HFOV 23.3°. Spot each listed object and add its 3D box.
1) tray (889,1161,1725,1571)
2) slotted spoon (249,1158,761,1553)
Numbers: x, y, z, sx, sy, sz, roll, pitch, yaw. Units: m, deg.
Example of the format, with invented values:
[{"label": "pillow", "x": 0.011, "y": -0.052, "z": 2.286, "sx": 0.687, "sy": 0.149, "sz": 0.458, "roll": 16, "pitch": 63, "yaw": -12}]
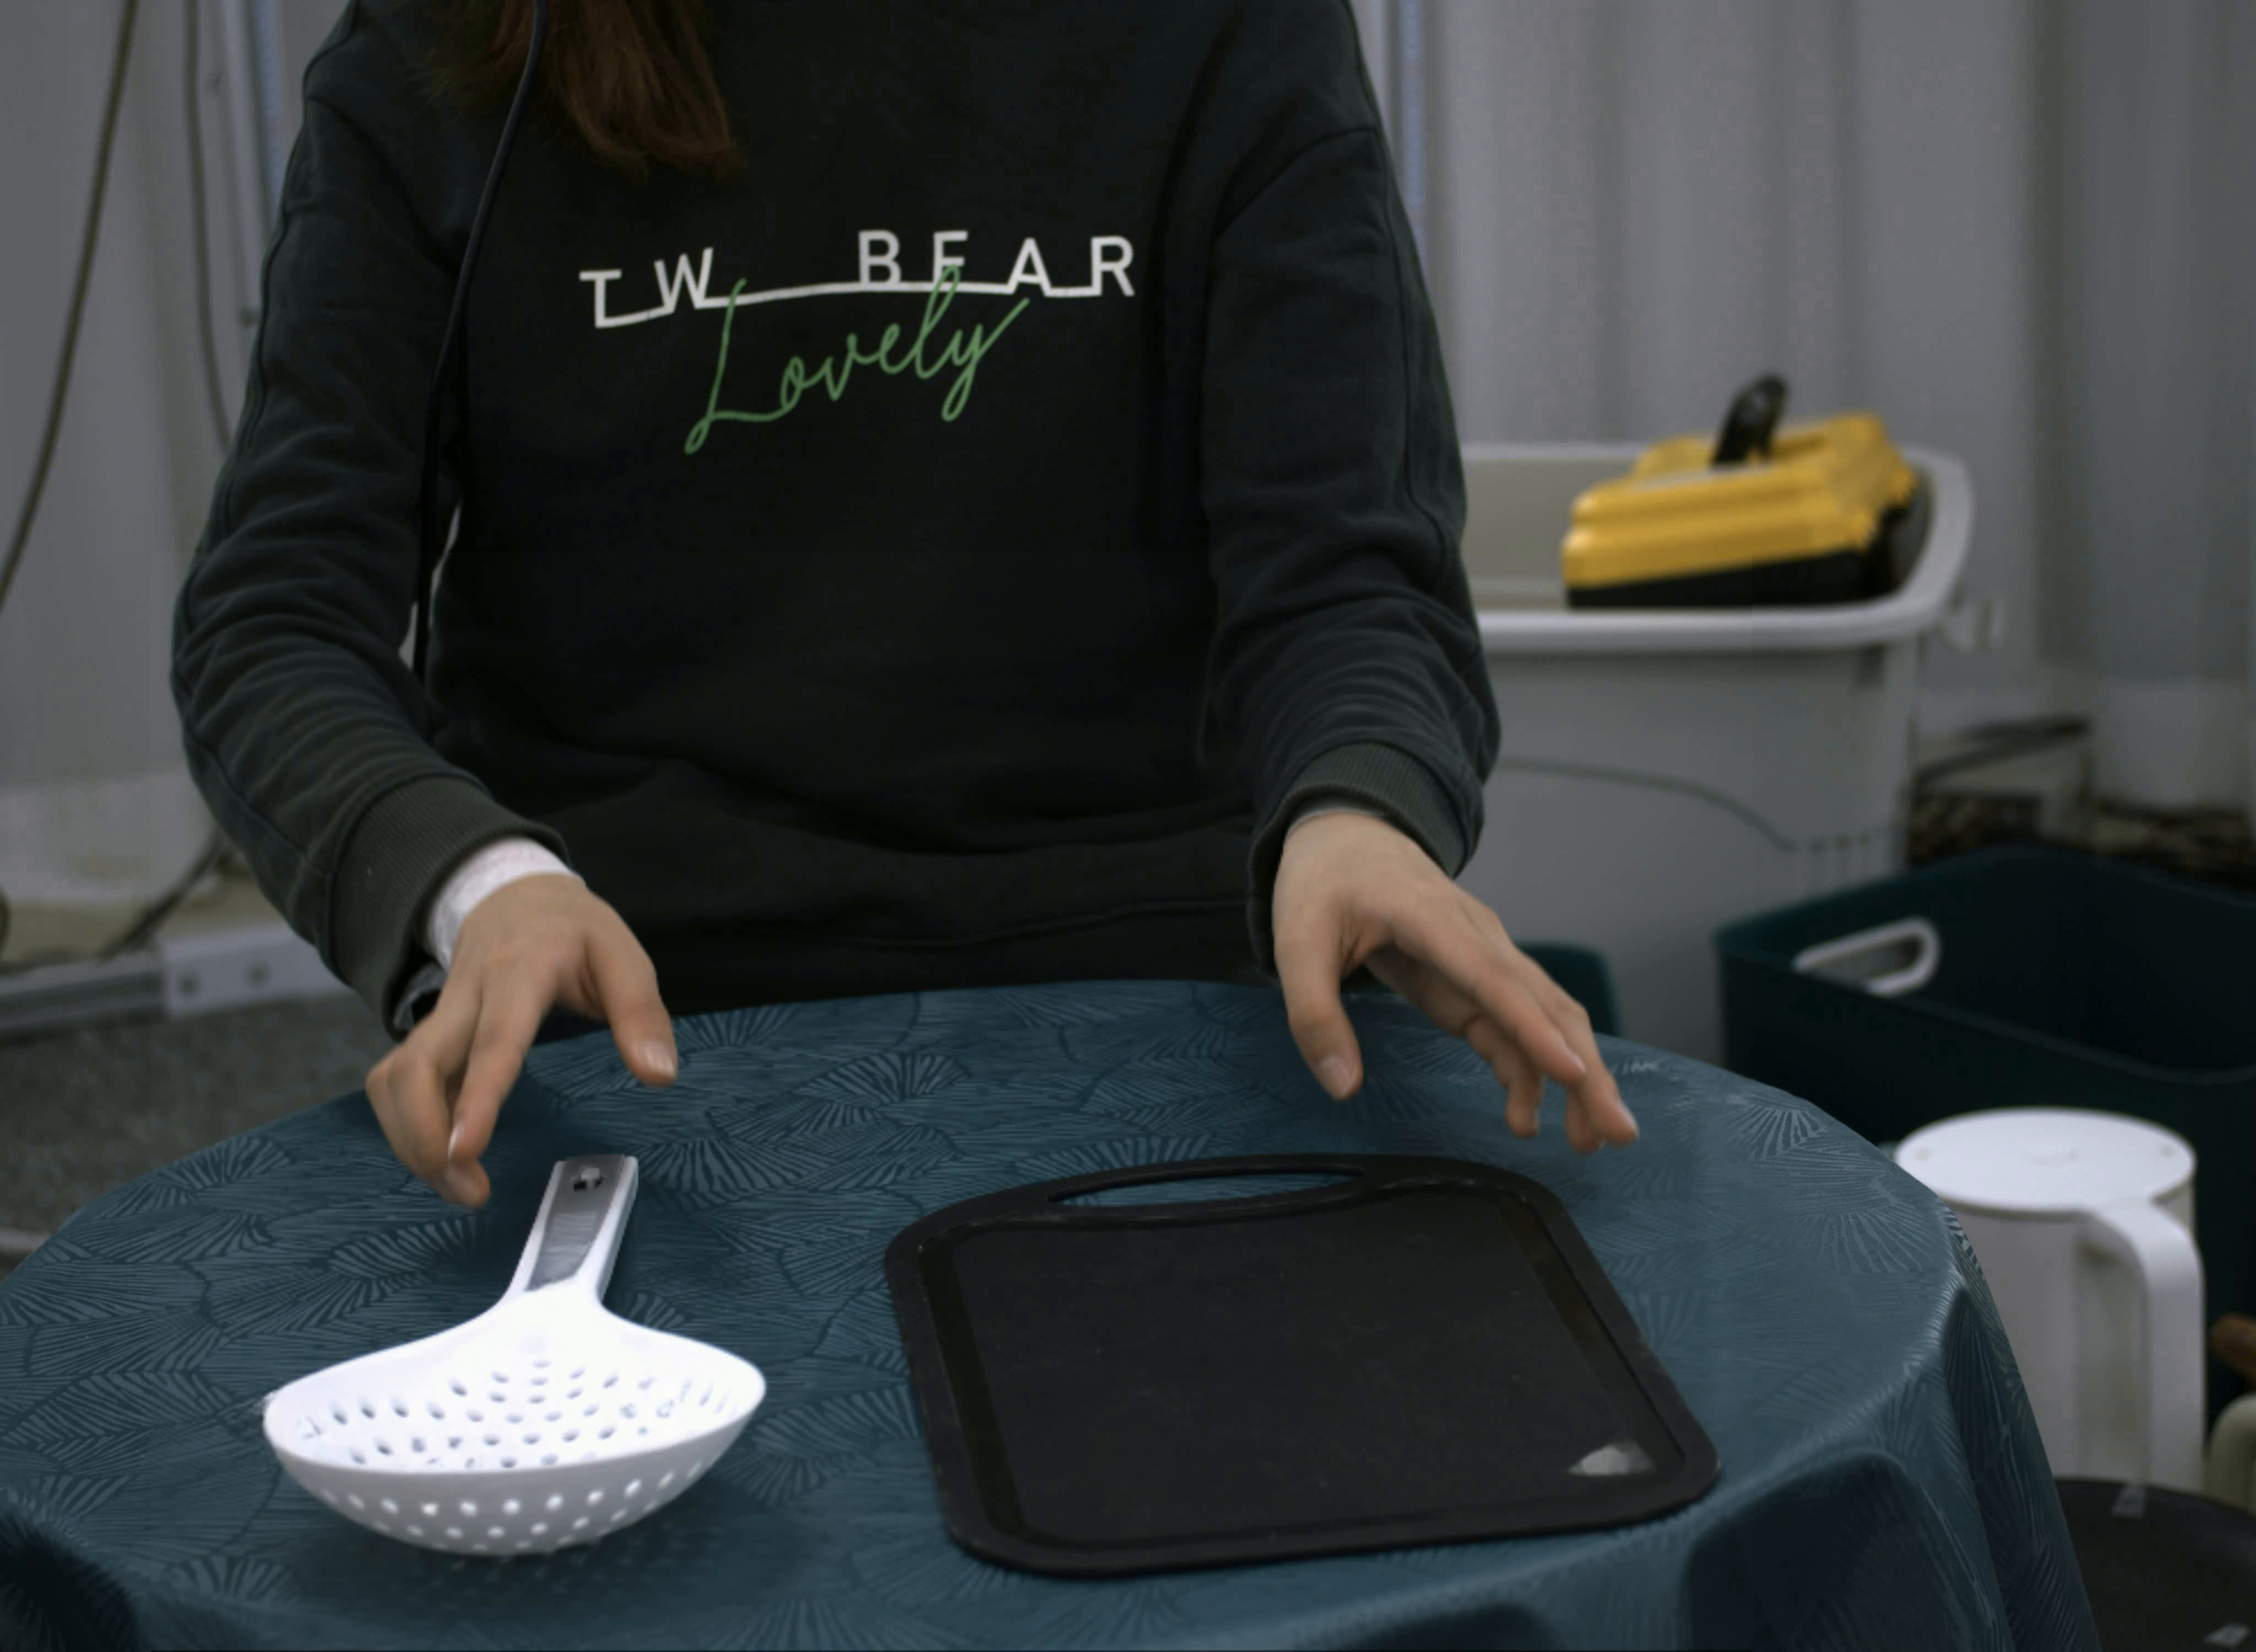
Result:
[{"label": "tray", "x": 0.042, "y": 0.147, "z": 1.571, "sx": 0.210, "sy": 0.010, "sz": 0.328, "roll": -4, "pitch": 15, "yaw": -6}, {"label": "slotted spoon", "x": -0.166, "y": 0.141, "z": 1.558, "sx": 0.135, "sy": 0.045, "sz": 0.352, "roll": -1, "pitch": 14, "yaw": 0}]
